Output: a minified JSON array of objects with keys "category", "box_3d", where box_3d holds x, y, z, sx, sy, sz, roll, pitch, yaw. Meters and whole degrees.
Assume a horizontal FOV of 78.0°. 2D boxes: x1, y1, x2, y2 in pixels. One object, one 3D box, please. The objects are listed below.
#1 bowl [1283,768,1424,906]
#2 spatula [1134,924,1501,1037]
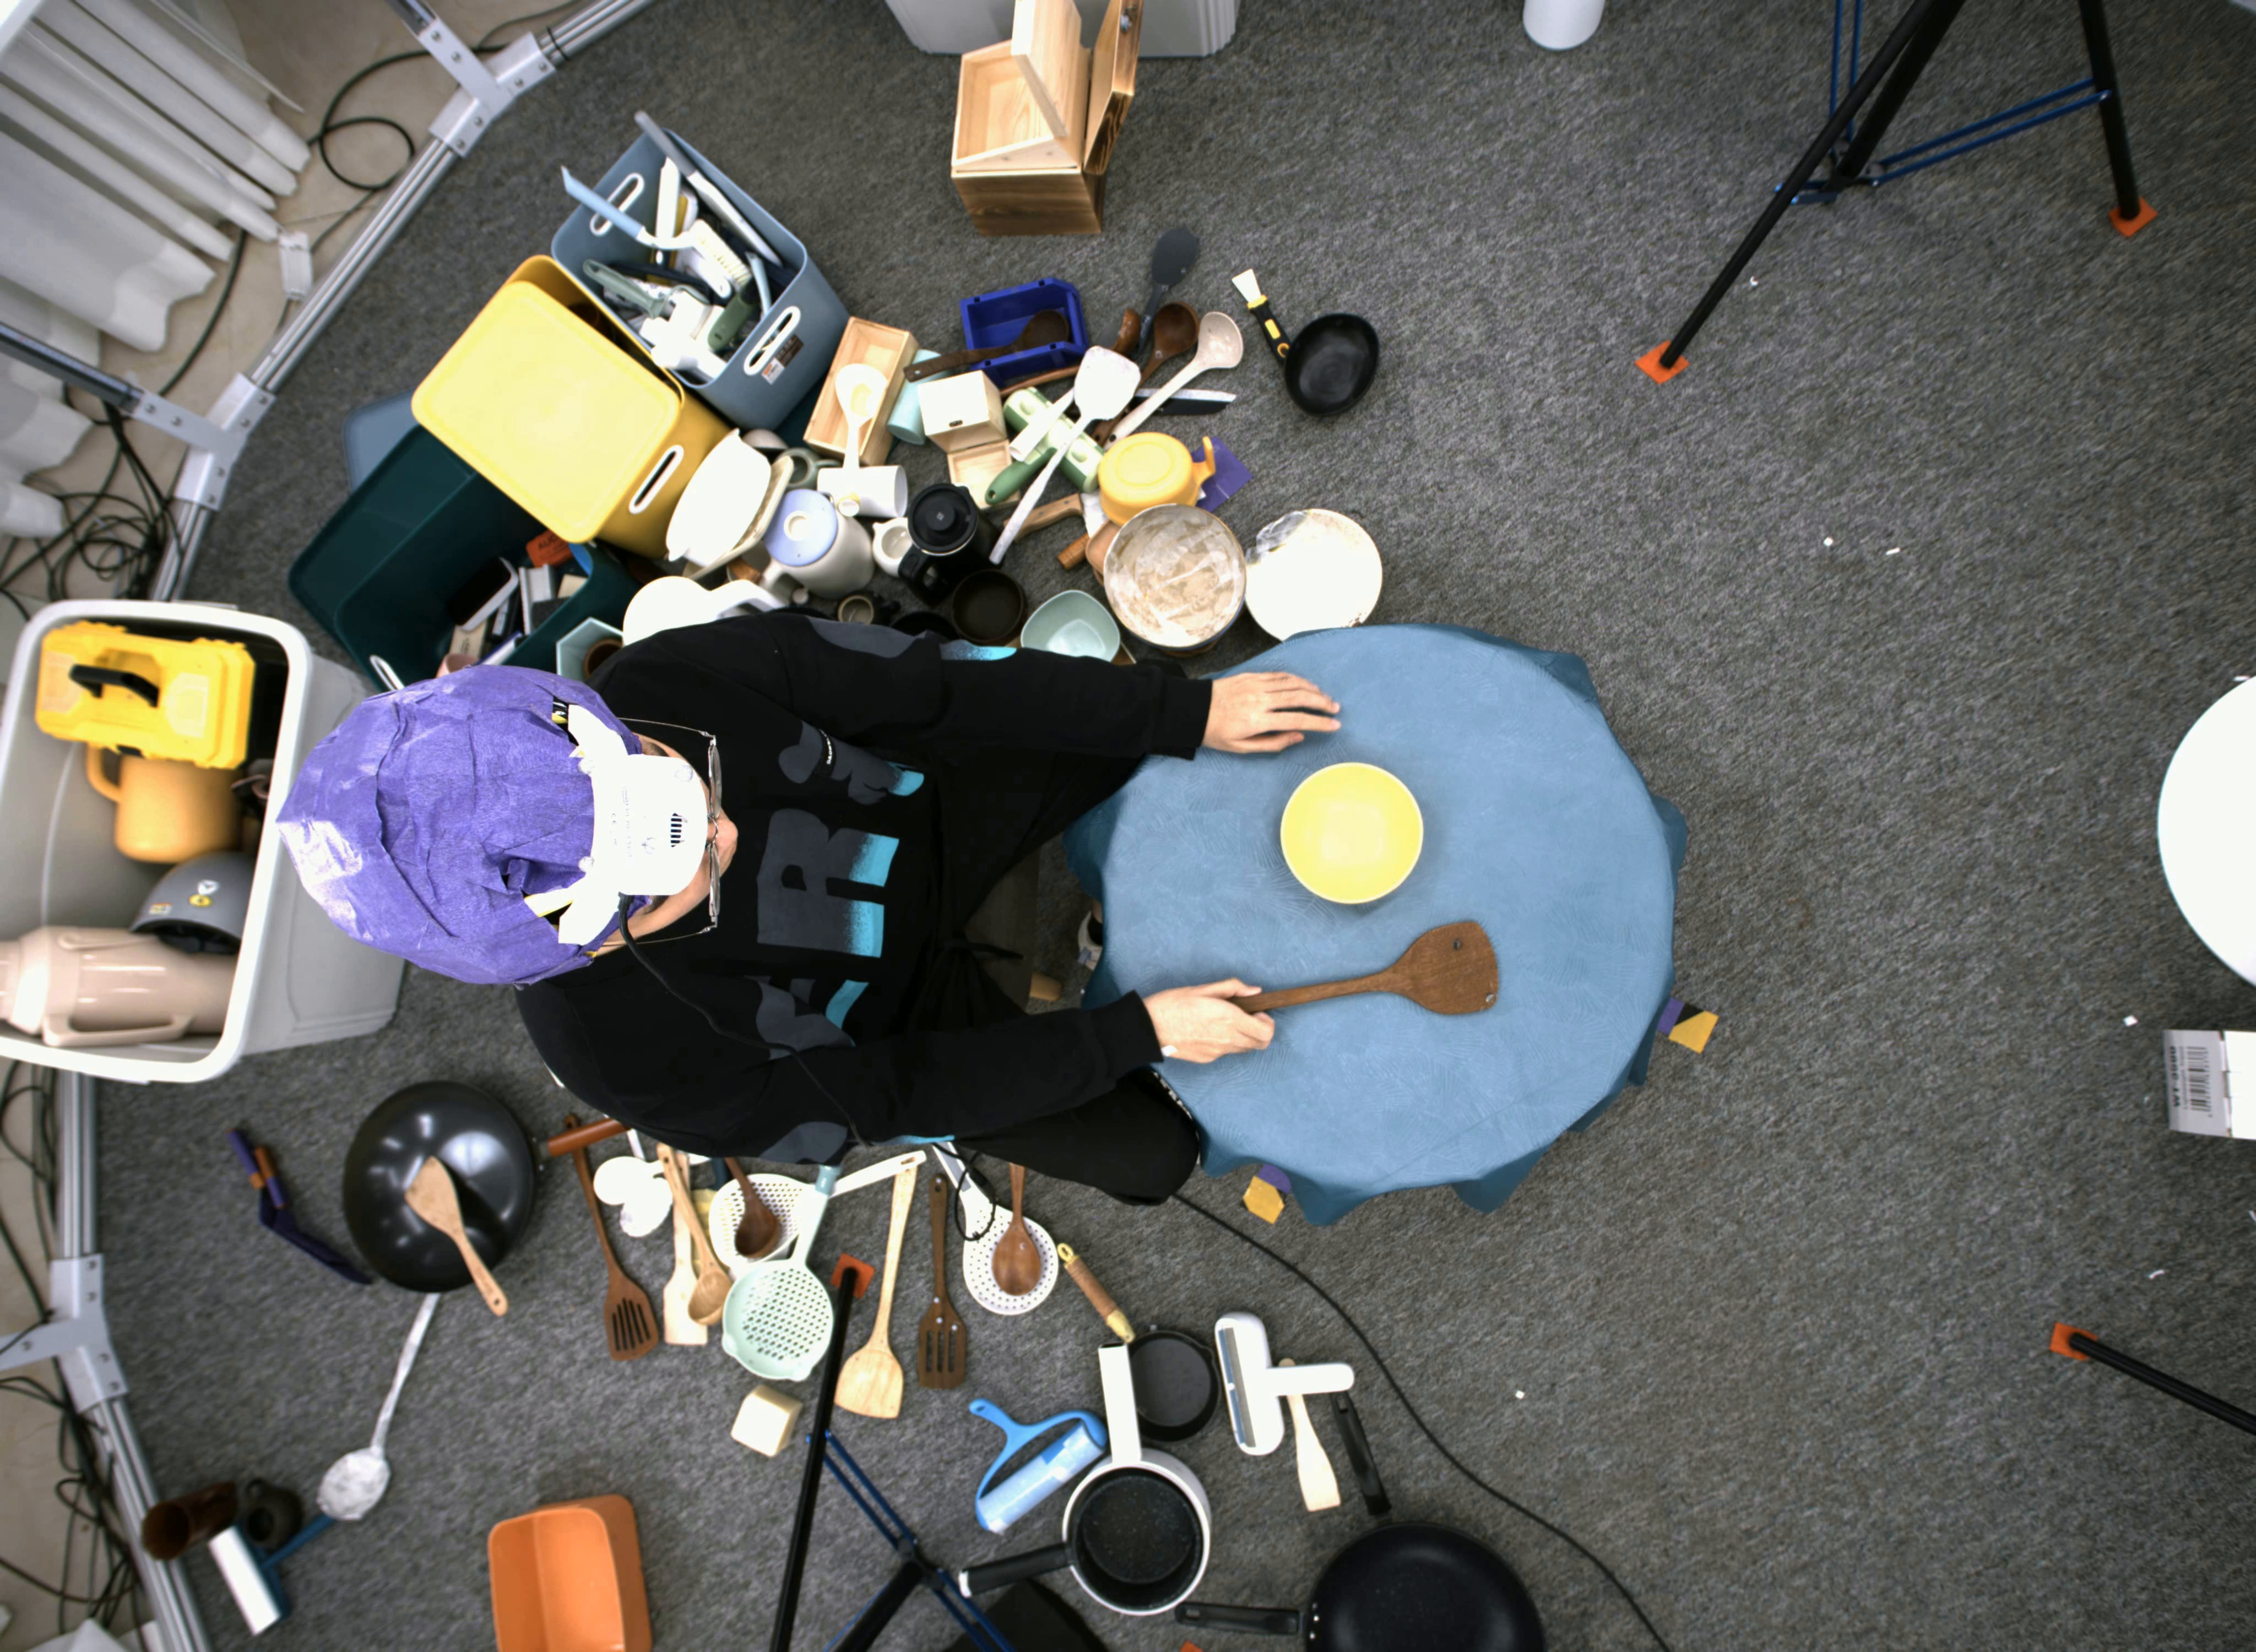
[{"category":"bowl","box_3d":[0.237,0.014,1.447,0.146,0.060,0.144,-2,83,11]},{"category":"spatula","box_3d":[0.196,0.177,1.452,0.387,0.016,0.095,-10,83,4]}]
